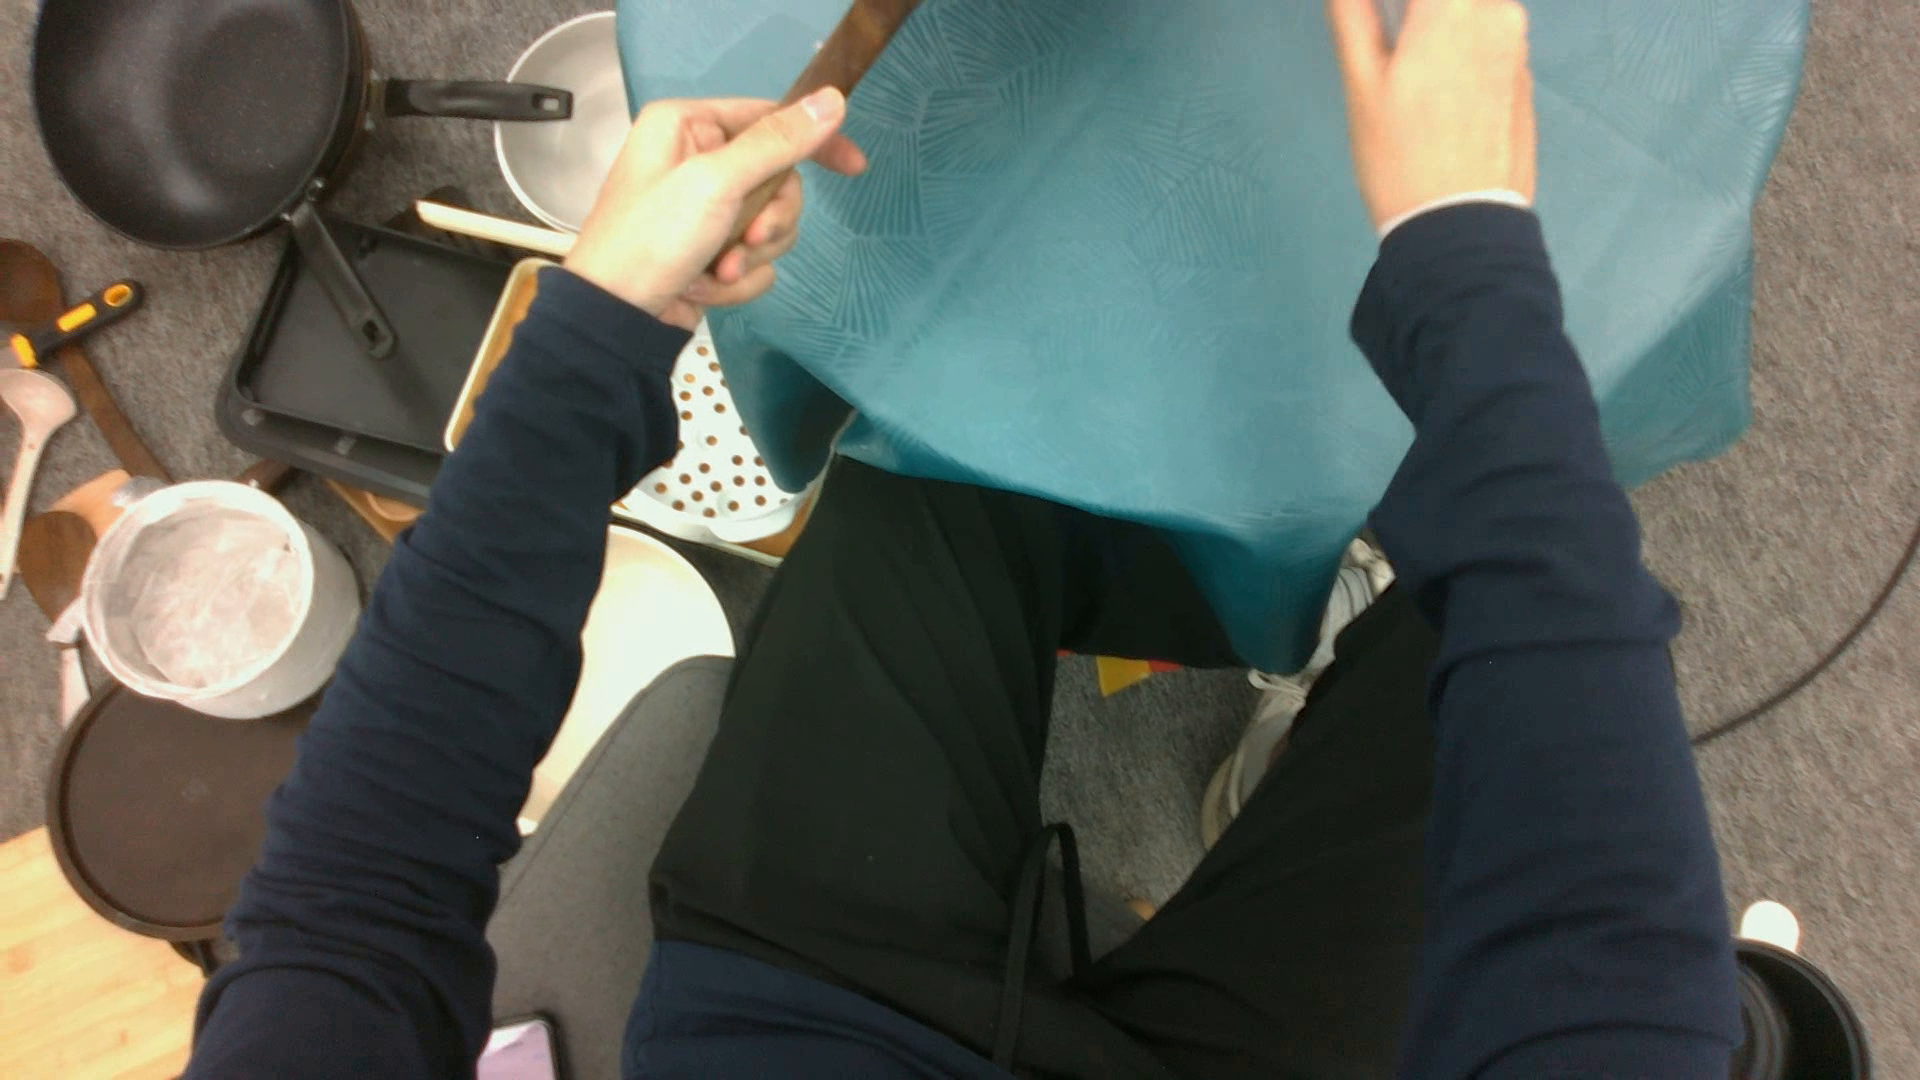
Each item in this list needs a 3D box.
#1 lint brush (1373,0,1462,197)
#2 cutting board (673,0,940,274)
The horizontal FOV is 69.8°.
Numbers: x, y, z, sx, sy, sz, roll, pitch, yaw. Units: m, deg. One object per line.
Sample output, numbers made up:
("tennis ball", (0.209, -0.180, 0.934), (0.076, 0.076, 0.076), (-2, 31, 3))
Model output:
("lint brush", (0.162, -0.290, 0.541), (0.060, 0.021, 0.308), (-18, 100, -32))
("cutting board", (-0.009, -0.254, 0.586), (0.023, 0.201, 0.353), (38, 79, -17))
